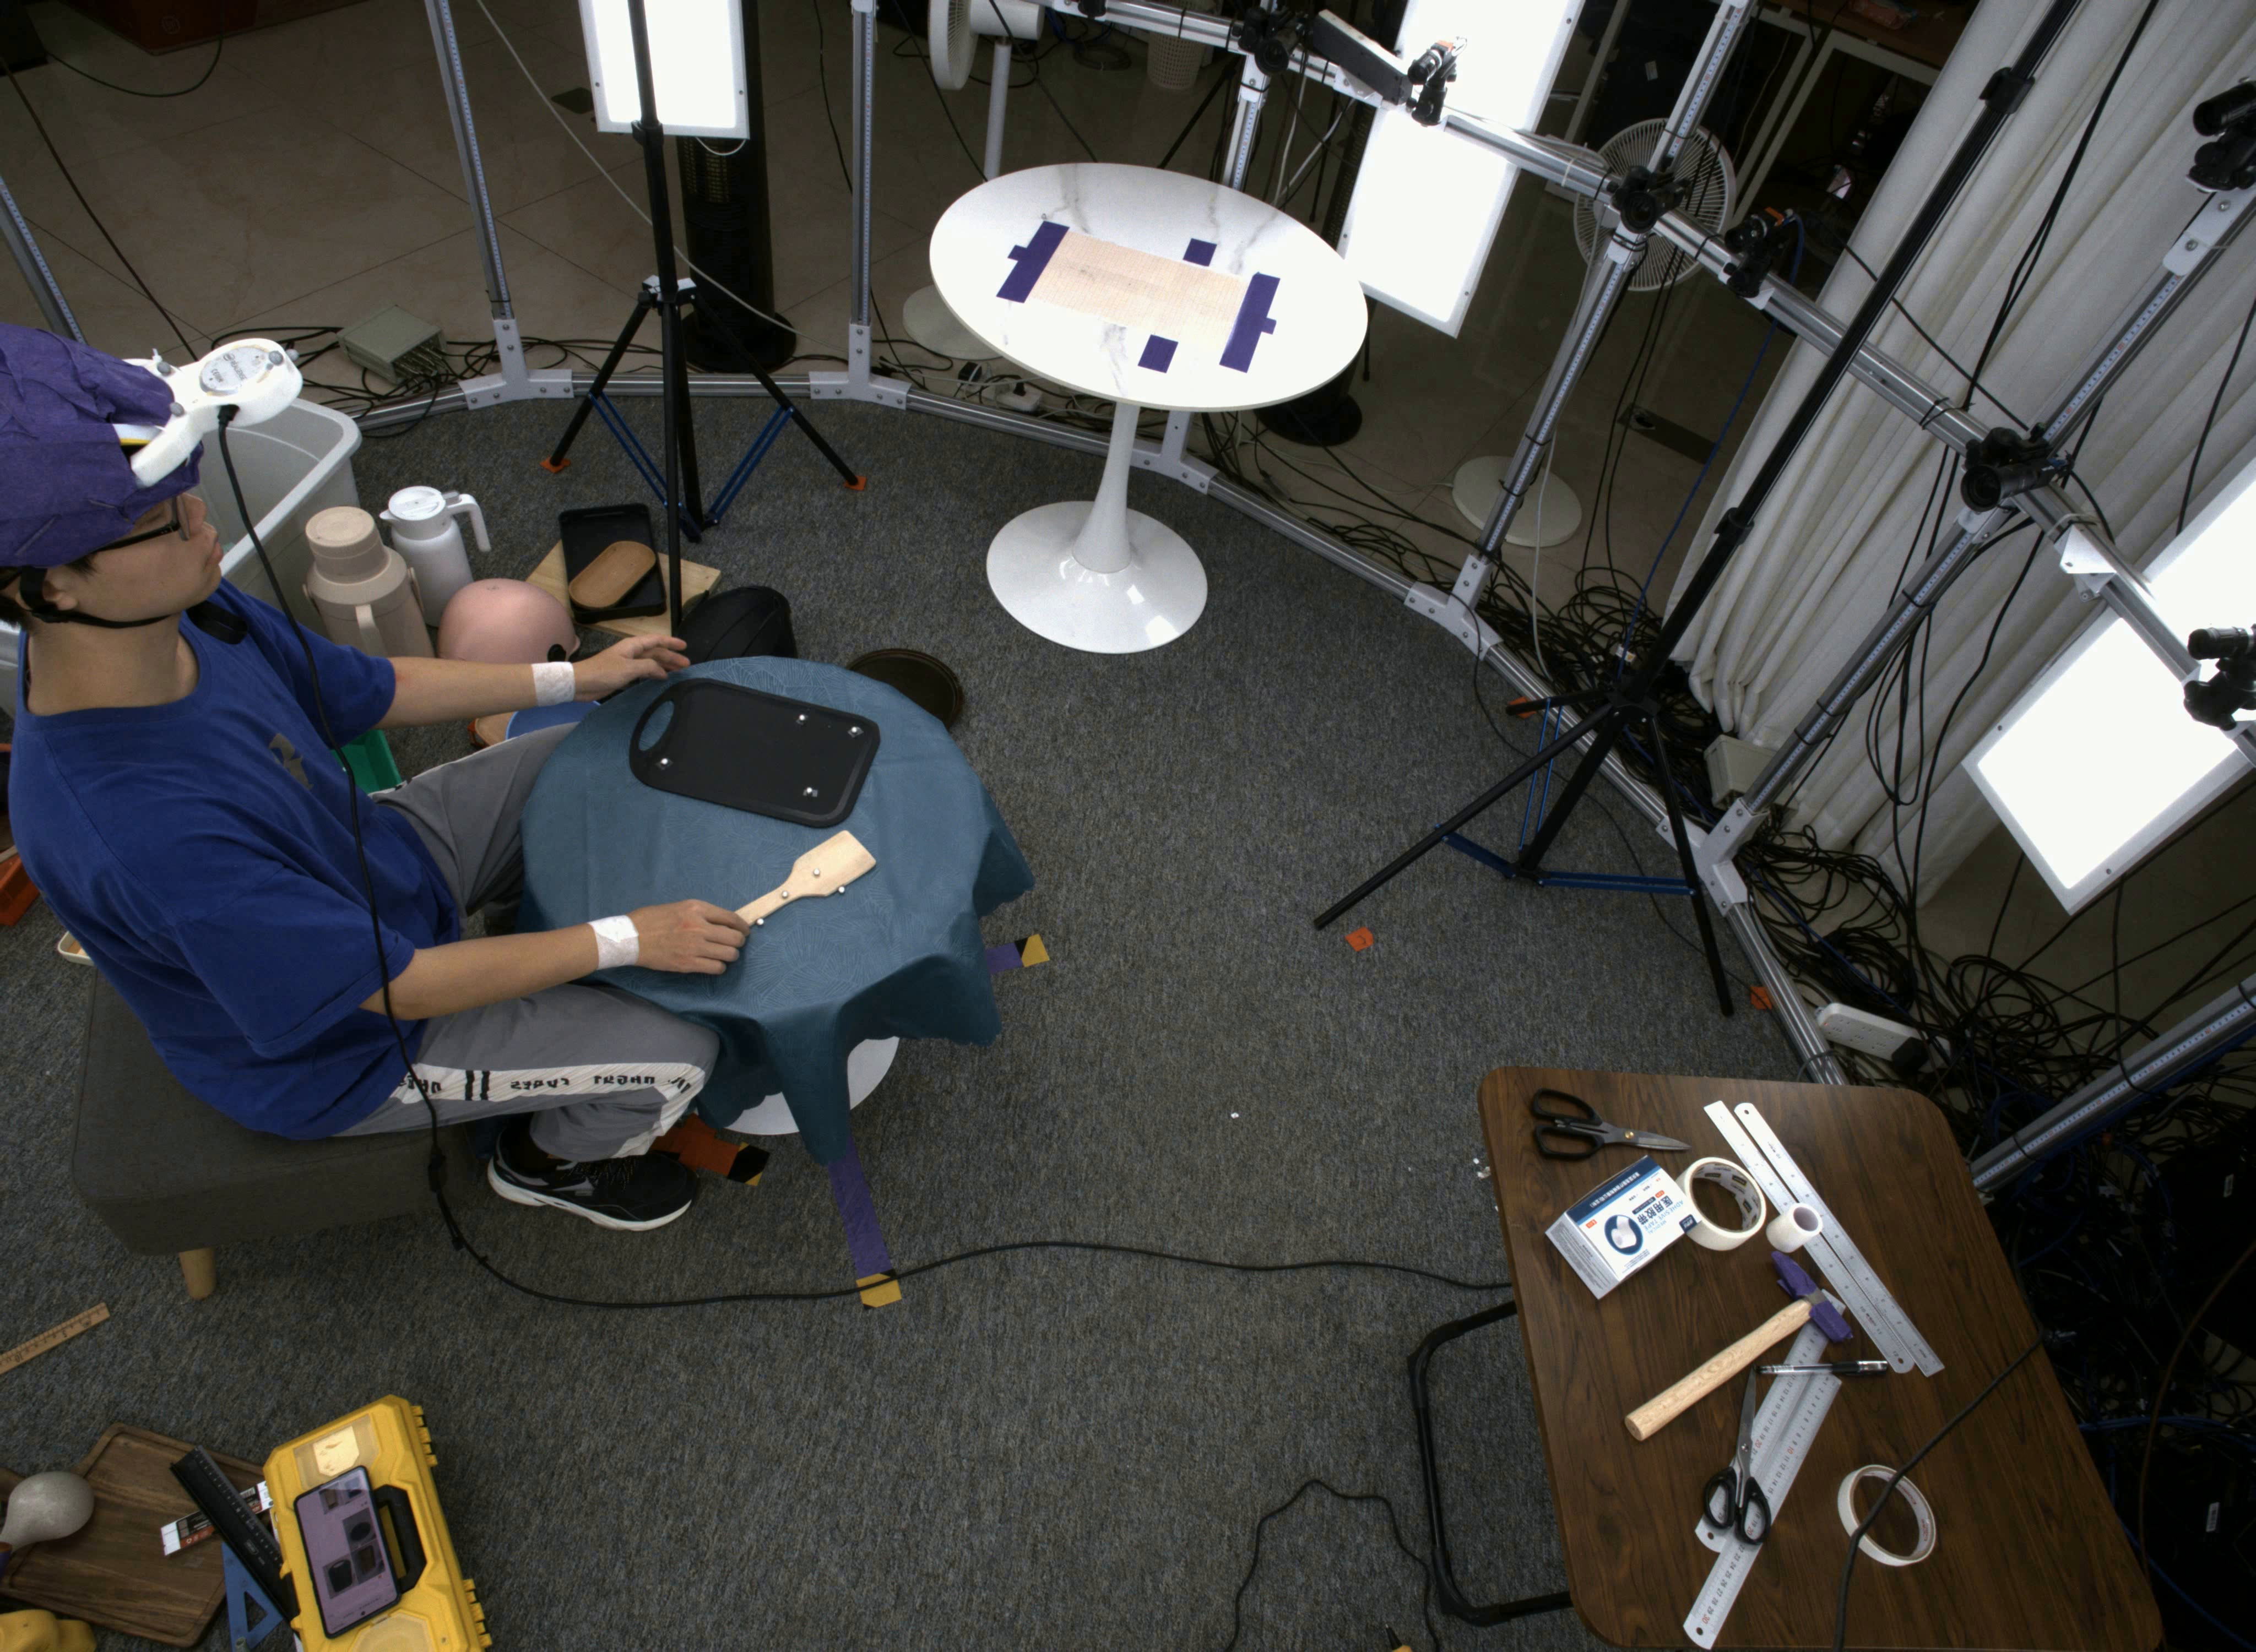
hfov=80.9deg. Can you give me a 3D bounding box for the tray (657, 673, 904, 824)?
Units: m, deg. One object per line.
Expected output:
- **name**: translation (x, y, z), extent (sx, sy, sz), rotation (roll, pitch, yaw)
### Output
- **tray**: translation (-0.487, -0.114, 1.797), extent (0.323, 0.010, 0.208), rotation (16, 52, -2)

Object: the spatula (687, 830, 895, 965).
- **spatula**: translation (-0.432, 0.094, 1.656), extent (0.294, 0.011, 0.071), rotation (-33, 69, -32)
